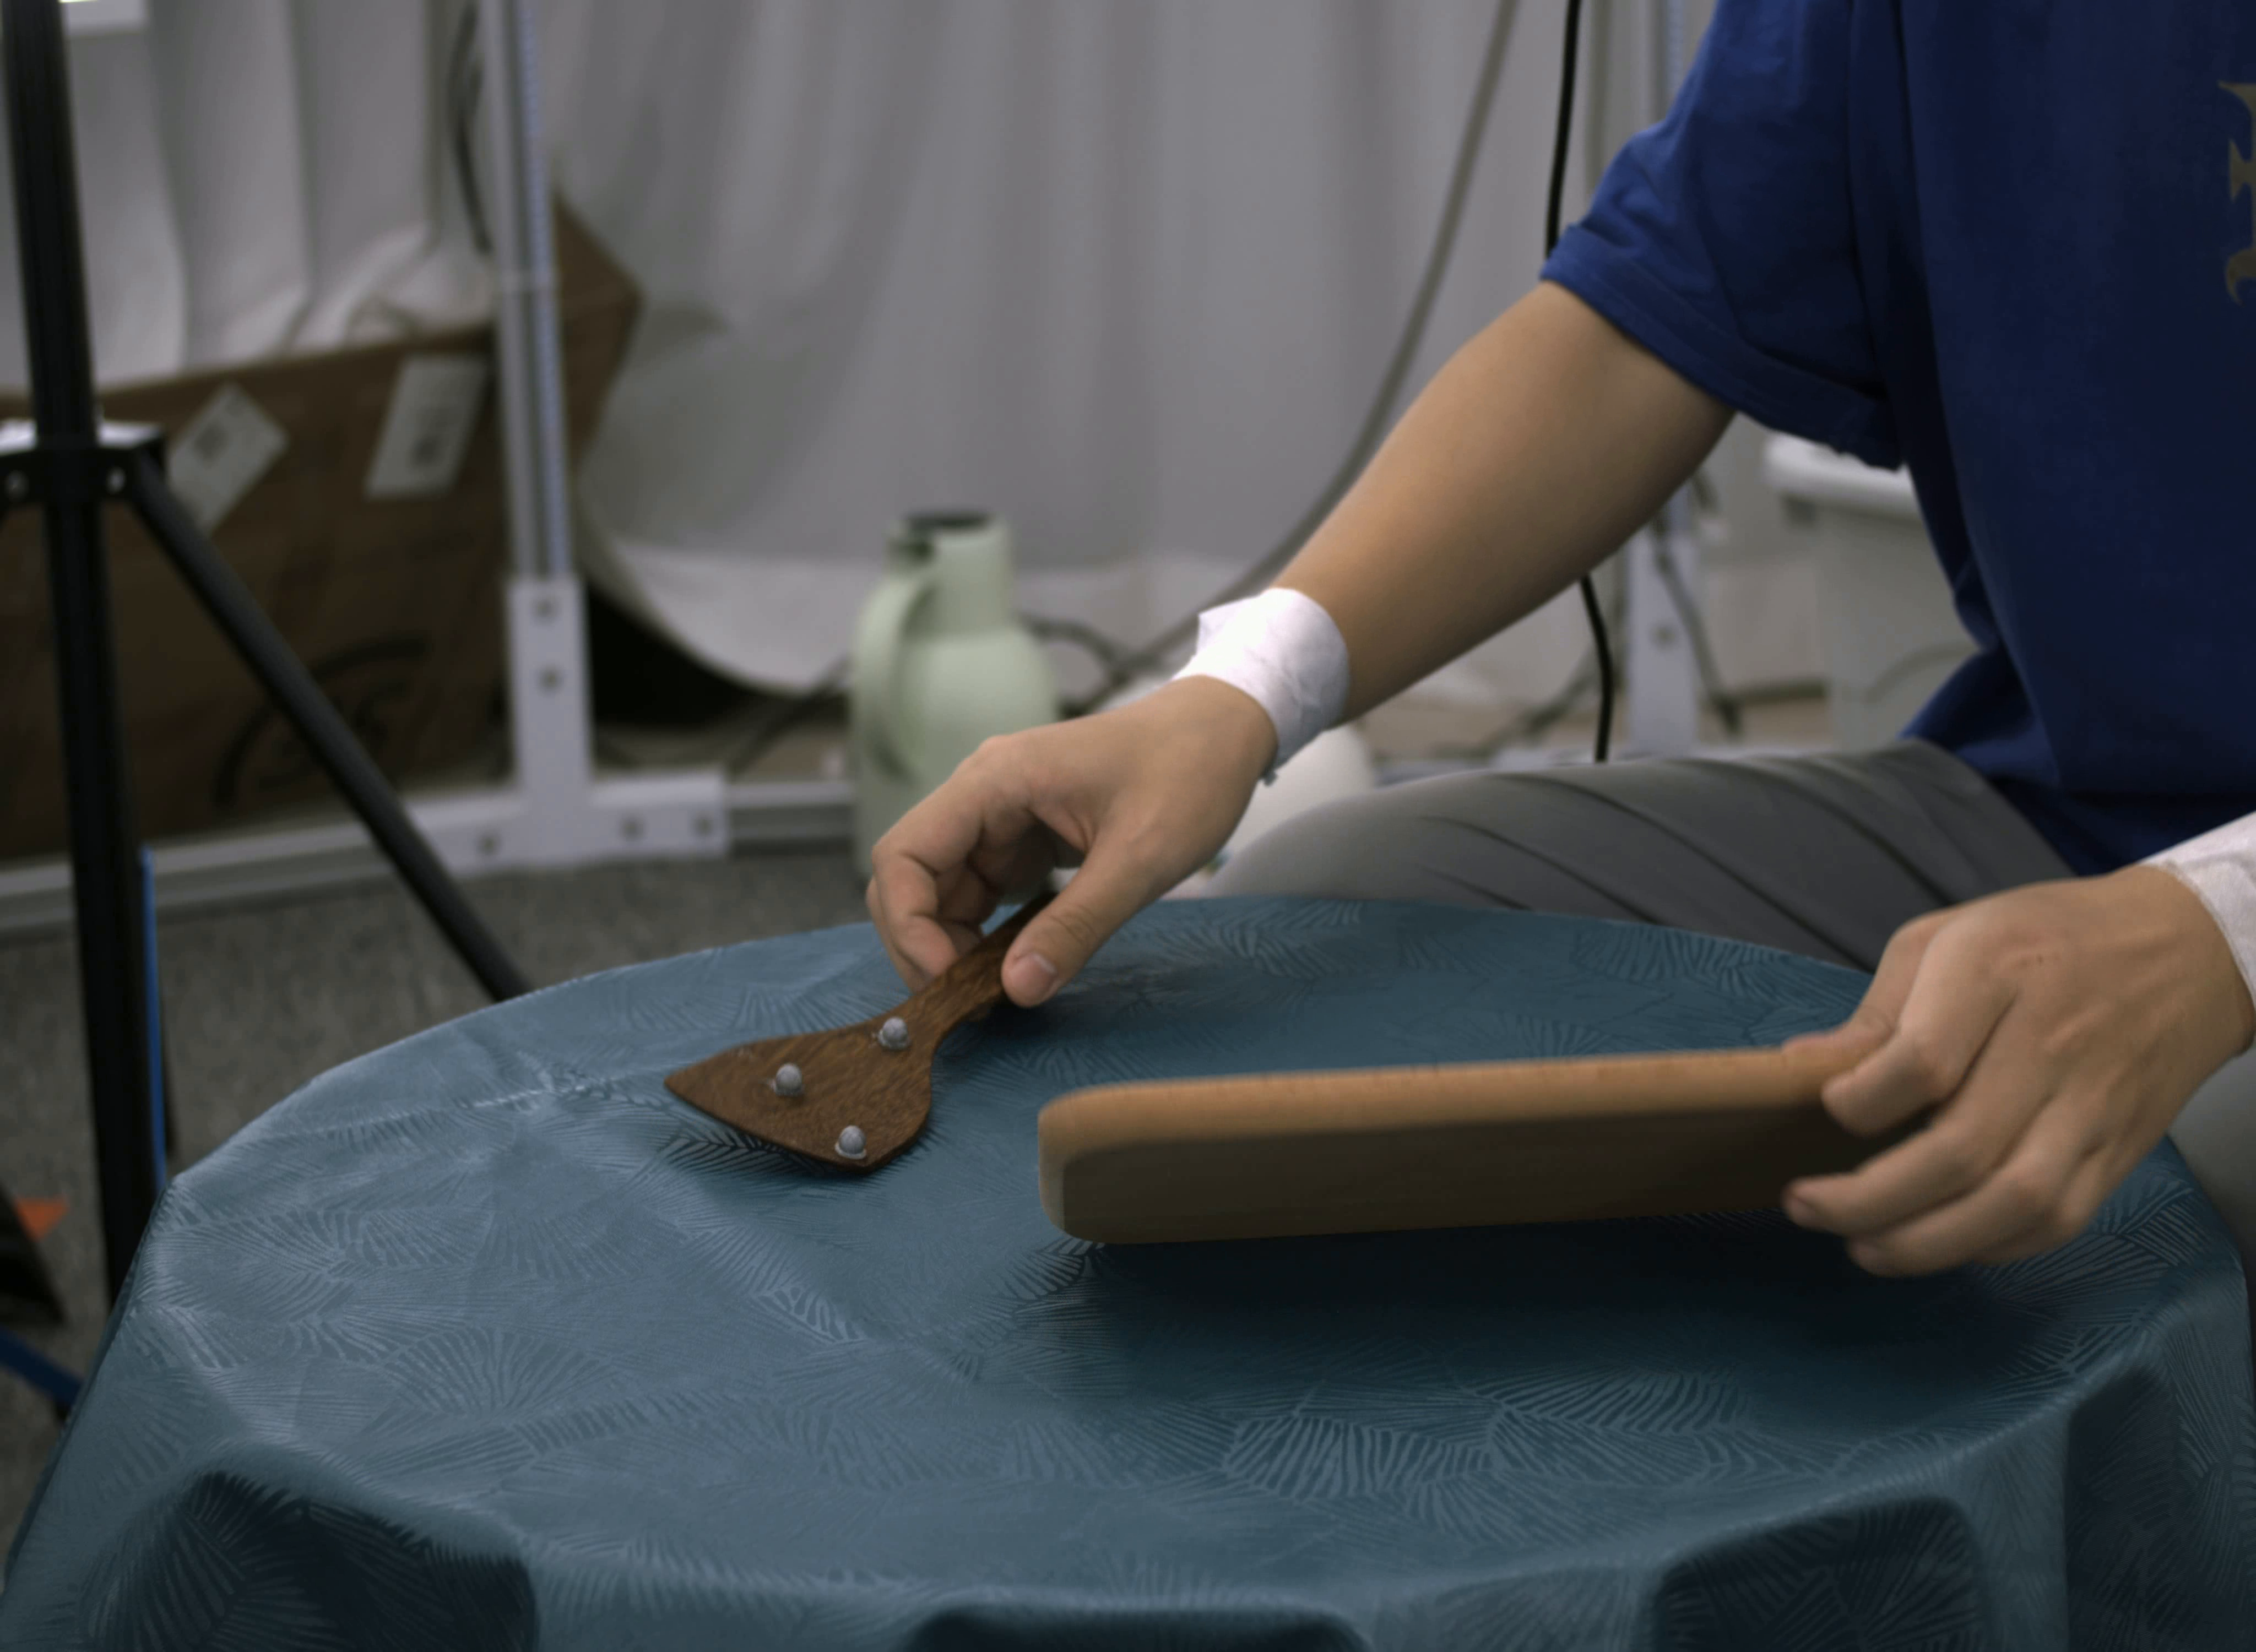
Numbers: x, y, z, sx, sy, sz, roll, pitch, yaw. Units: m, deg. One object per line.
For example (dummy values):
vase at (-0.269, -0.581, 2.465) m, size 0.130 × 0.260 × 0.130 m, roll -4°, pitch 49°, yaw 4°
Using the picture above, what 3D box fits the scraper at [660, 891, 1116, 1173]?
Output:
scraper at (-0.063, 0.061, 1.672) m, size 0.077 × 0.011 × 0.208 m, roll 19°, pitch 29°, yaw 24°

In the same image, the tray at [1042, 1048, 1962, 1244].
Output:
tray at (0.101, 0.090, 1.463) m, size 0.250 × 0.023 × 0.130 m, roll -3°, pitch -14°, yaw 1°
